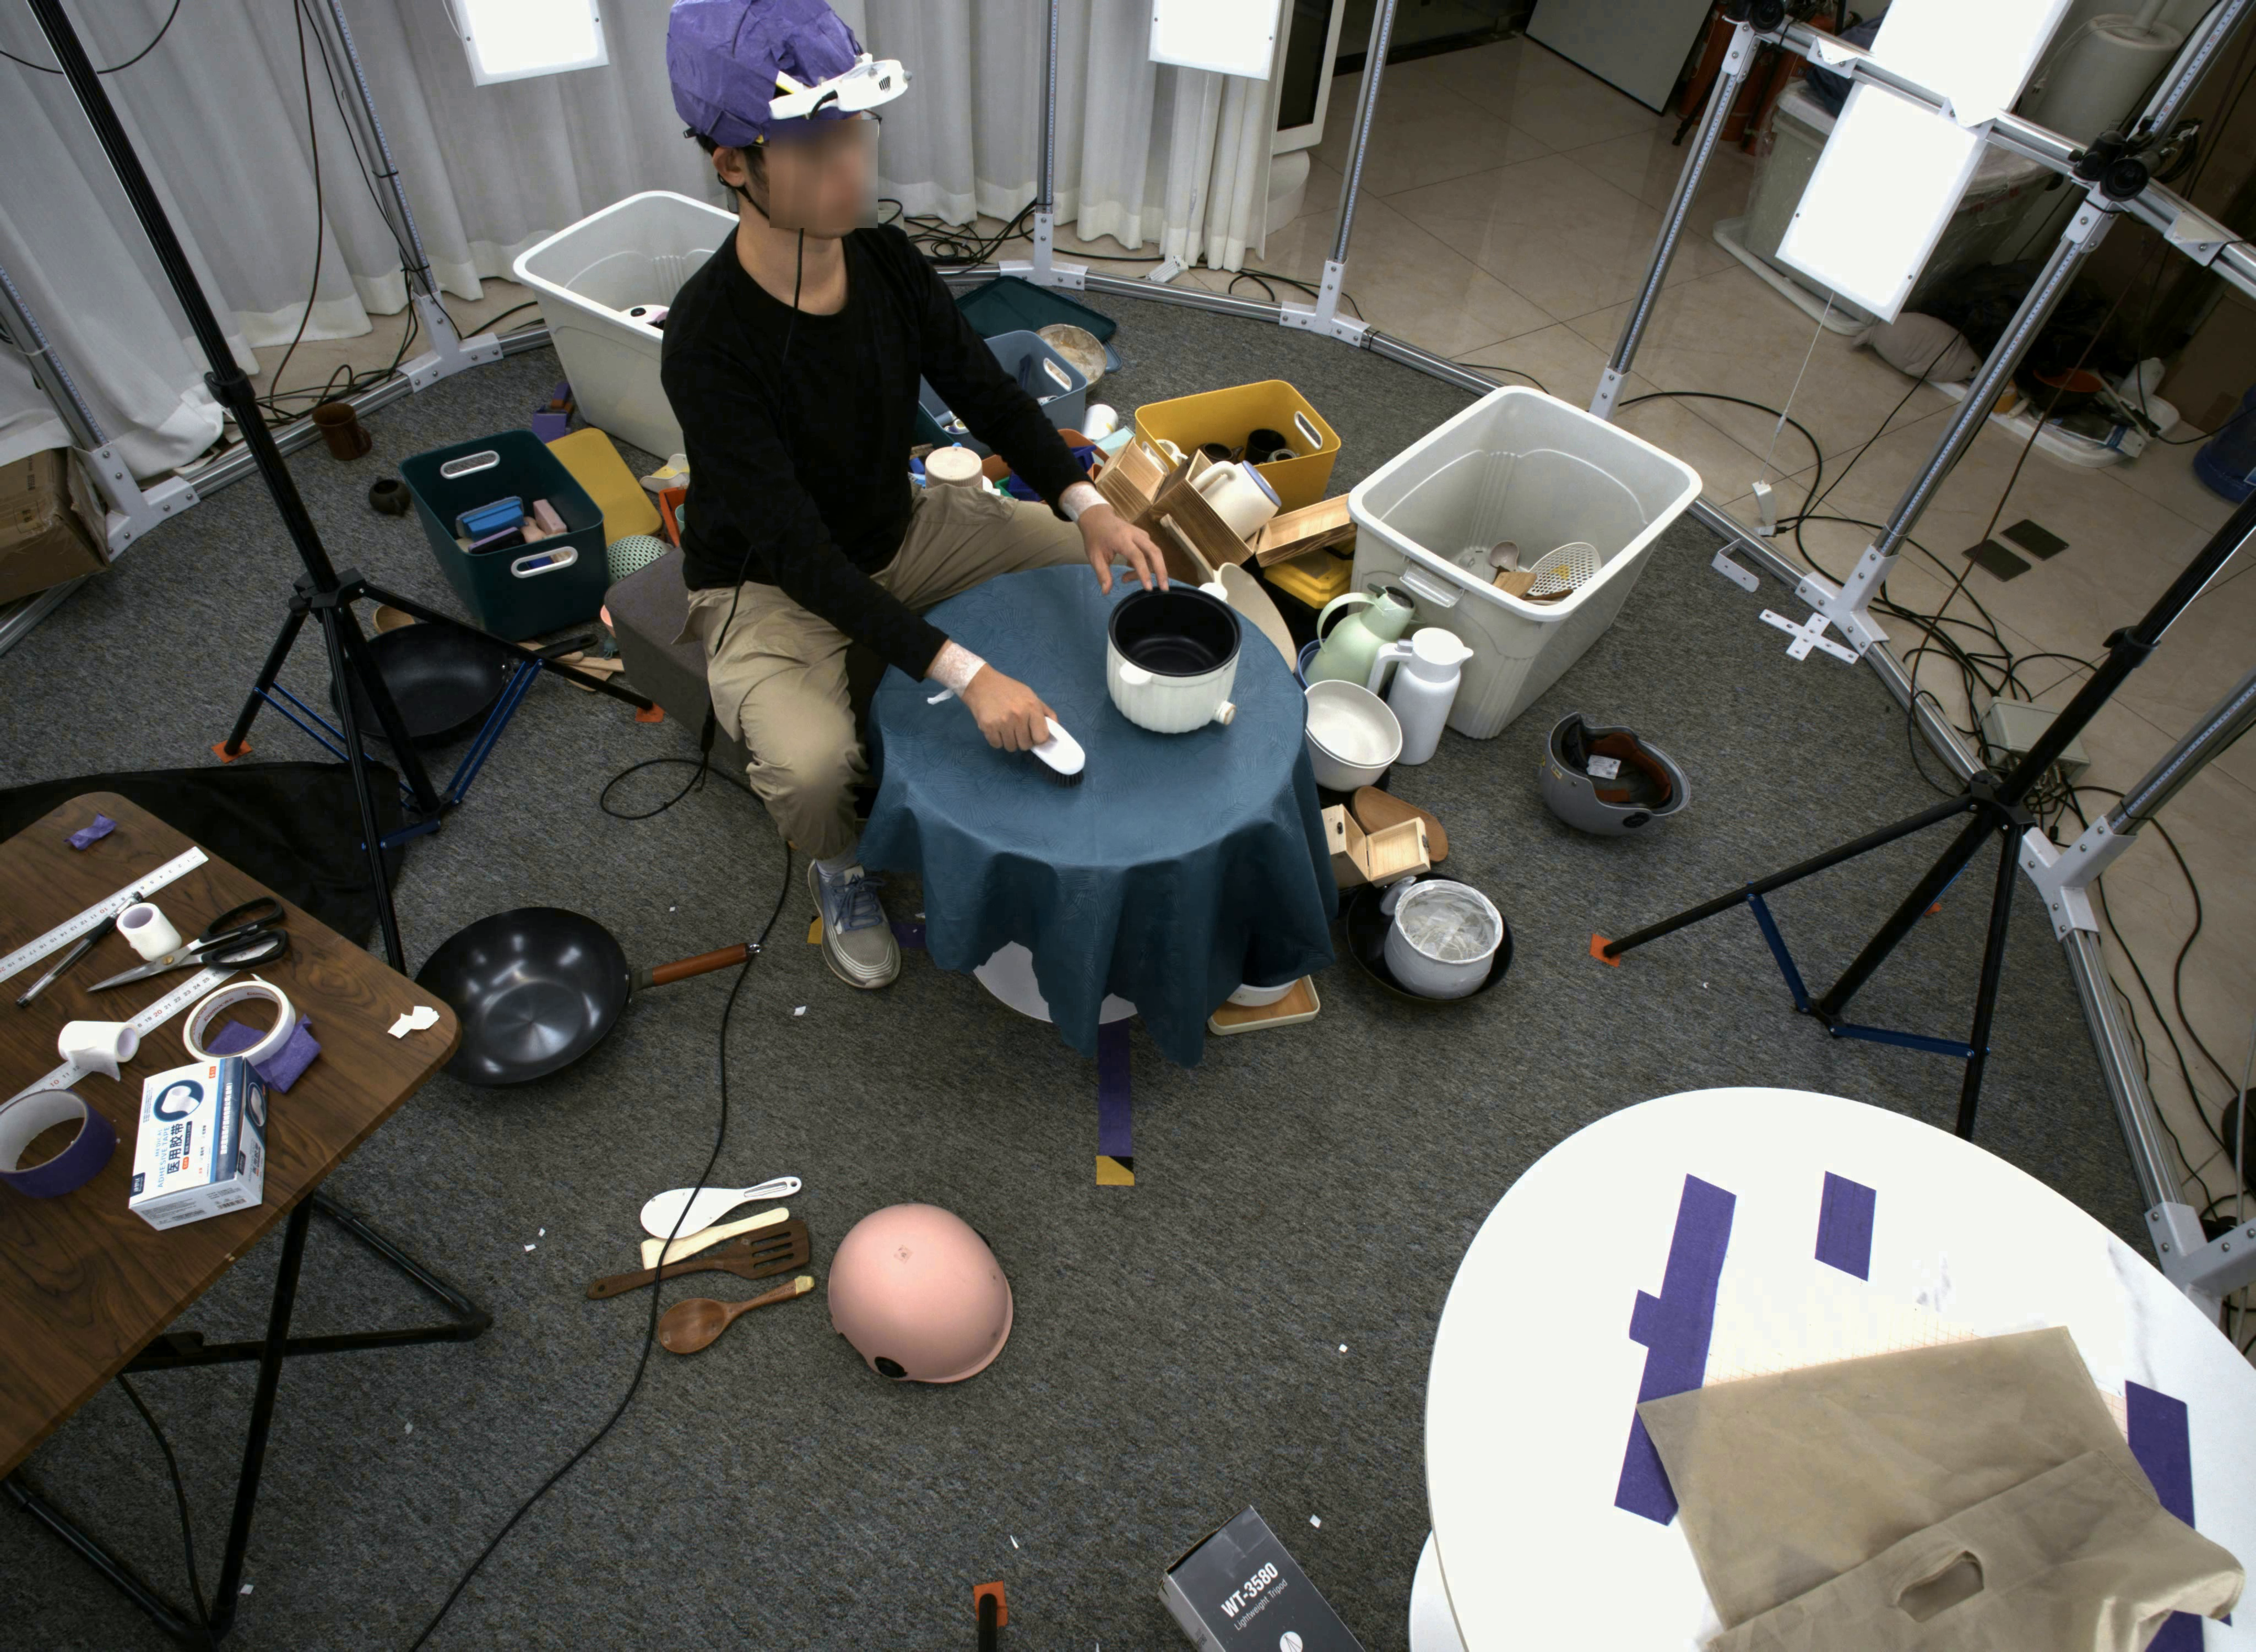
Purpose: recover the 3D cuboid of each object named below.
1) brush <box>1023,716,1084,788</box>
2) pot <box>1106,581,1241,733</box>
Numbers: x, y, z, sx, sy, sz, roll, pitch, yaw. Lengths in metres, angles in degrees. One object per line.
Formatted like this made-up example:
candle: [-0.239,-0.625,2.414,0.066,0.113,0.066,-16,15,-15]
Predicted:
brush: [-0.099,-0.106,1.708,0.050,0.071,0.101,-34,60,-29]
pot: [0.064,-0.223,1.779,0.192,0.139,0.244,26,53,20]
